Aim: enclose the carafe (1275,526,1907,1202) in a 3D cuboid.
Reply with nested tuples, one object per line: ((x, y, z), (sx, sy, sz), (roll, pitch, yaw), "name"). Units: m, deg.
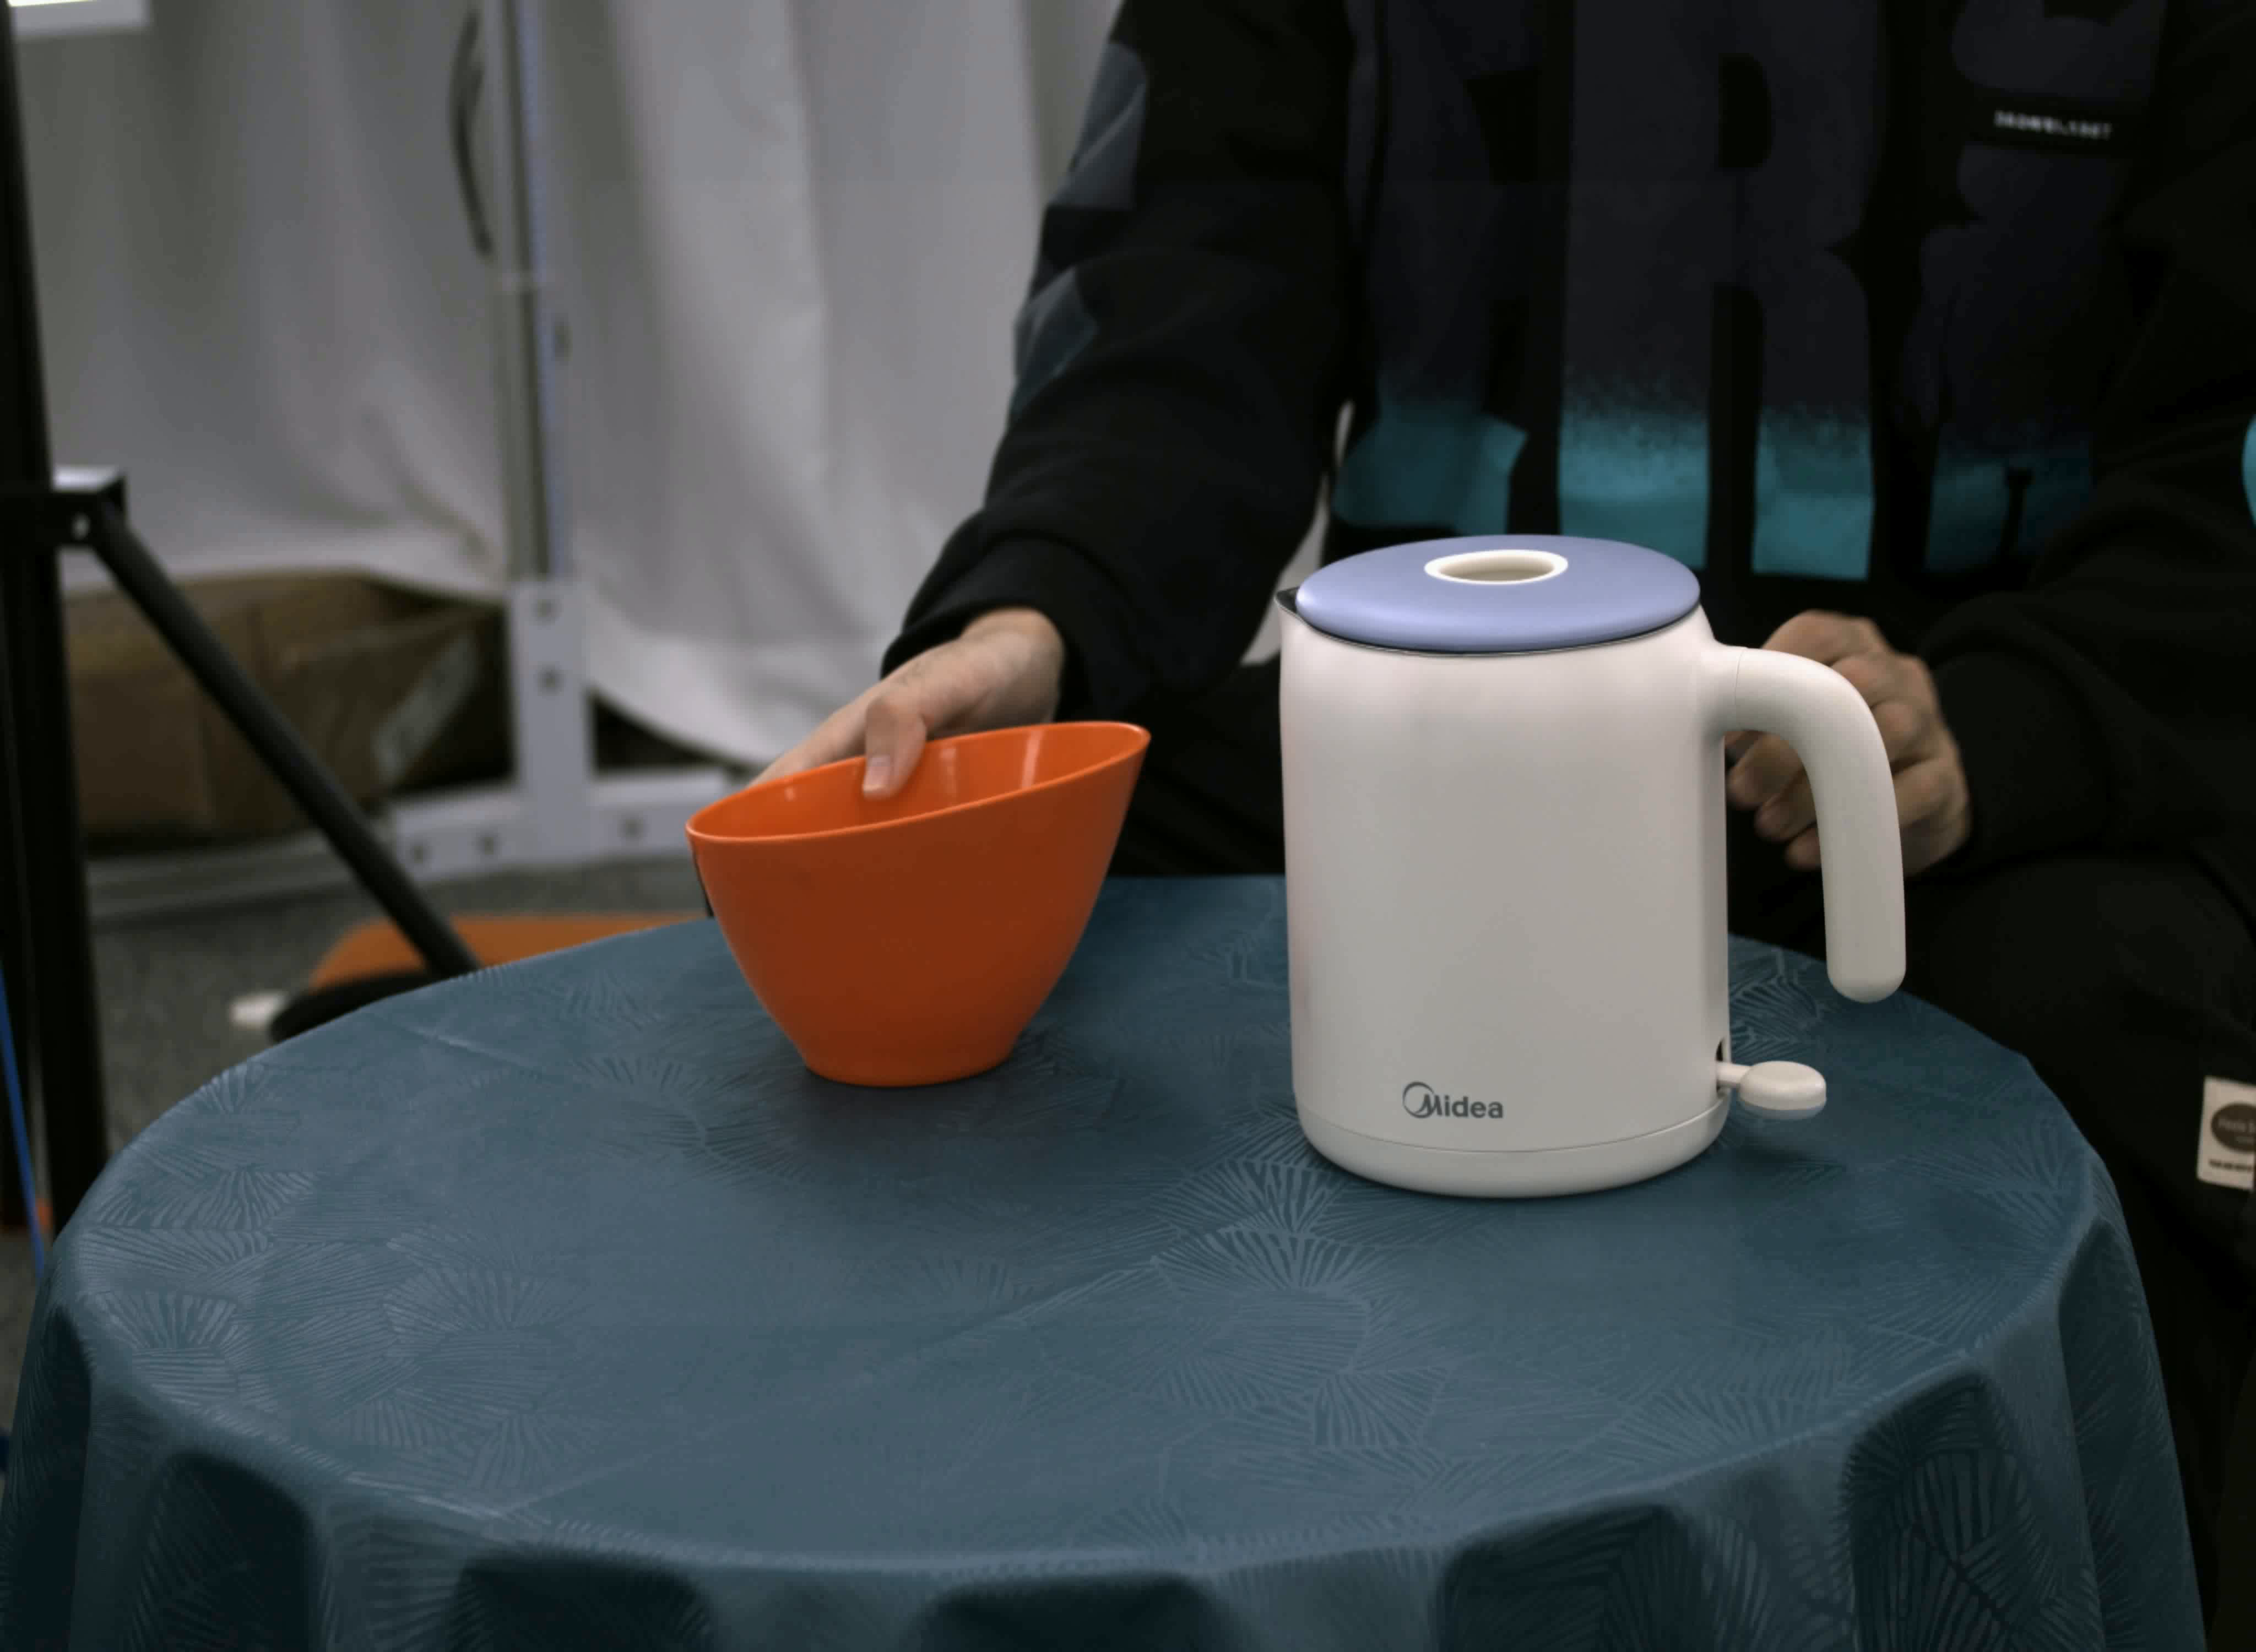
((0.135, 0.012, 1.560), (0.193, 0.182, 0.131), (5, 18, 18), "carafe")

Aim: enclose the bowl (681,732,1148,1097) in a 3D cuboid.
((-0.065, 0.027, 1.670), (0.147, 0.104, 0.149), (-3, 15, -1), "bowl")
